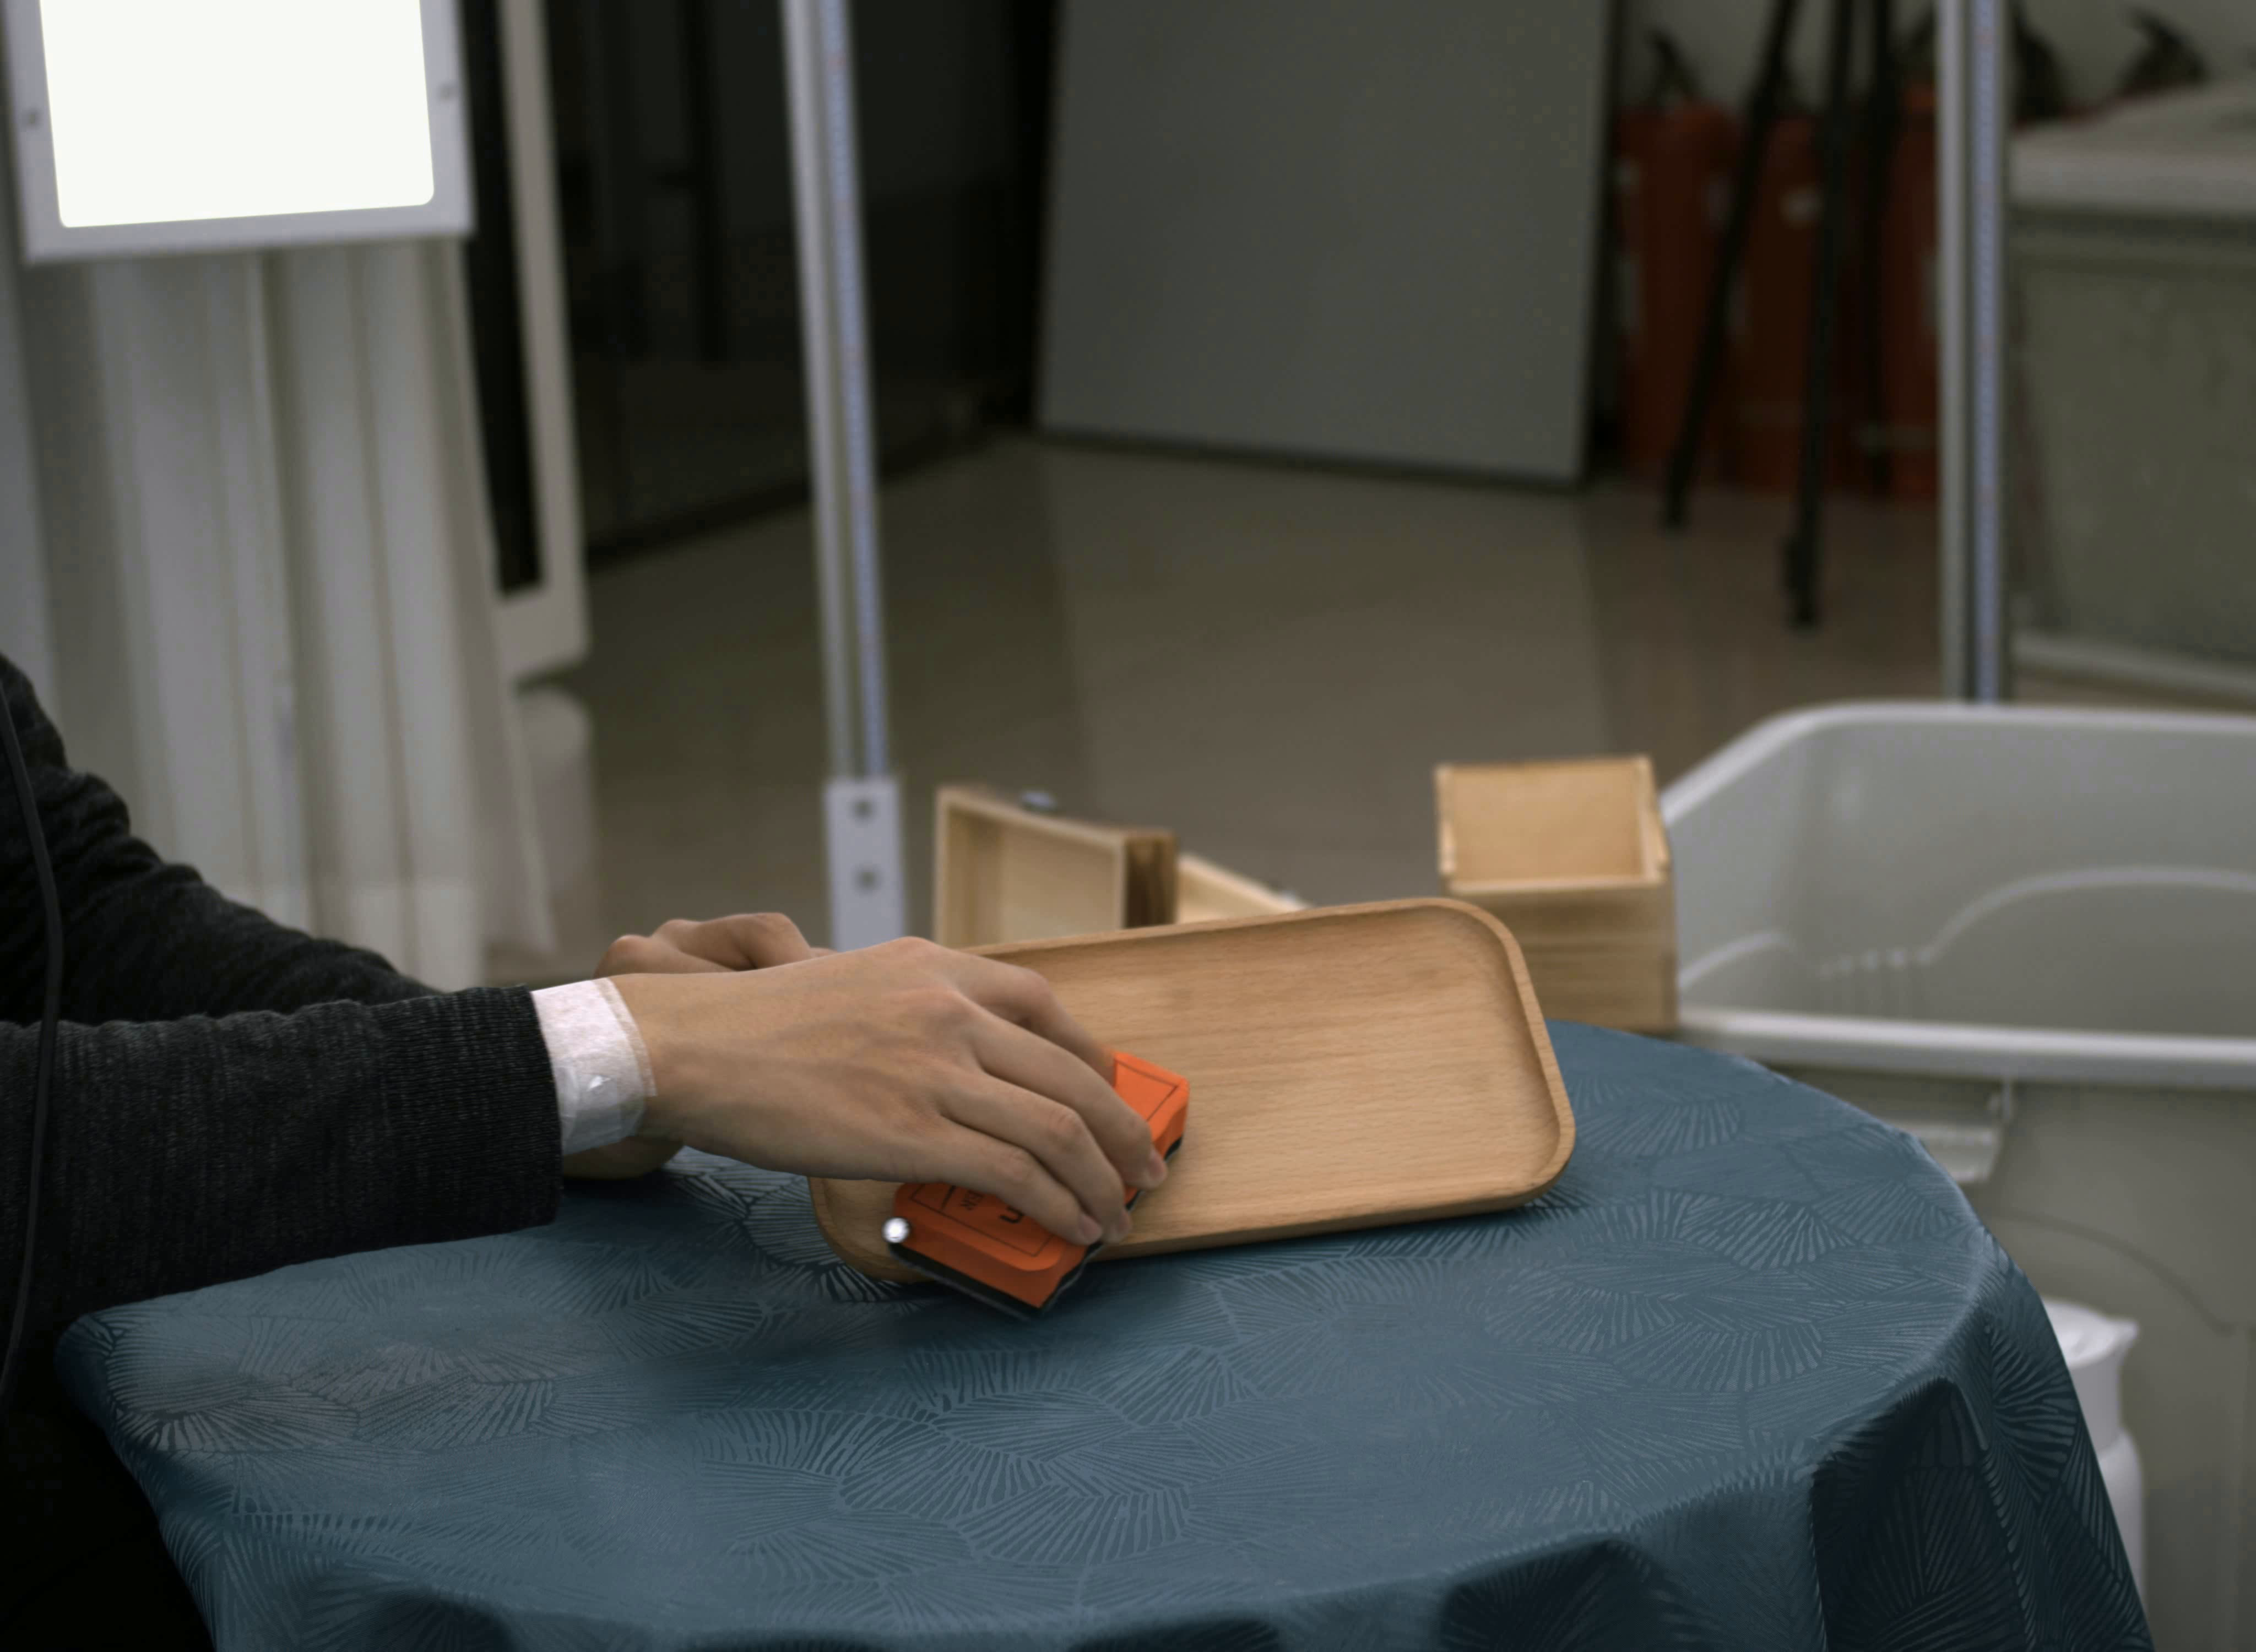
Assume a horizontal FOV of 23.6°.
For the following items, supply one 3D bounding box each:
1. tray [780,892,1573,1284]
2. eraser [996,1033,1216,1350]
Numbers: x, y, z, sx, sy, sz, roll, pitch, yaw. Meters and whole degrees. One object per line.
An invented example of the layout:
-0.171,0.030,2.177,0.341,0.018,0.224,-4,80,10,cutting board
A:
0.015,0.085,1.742,0.246,0.023,0.132,-6,47,-8,tray
-0.007,0.114,1.691,0.058,0.023,0.108,8,45,4,eraser
